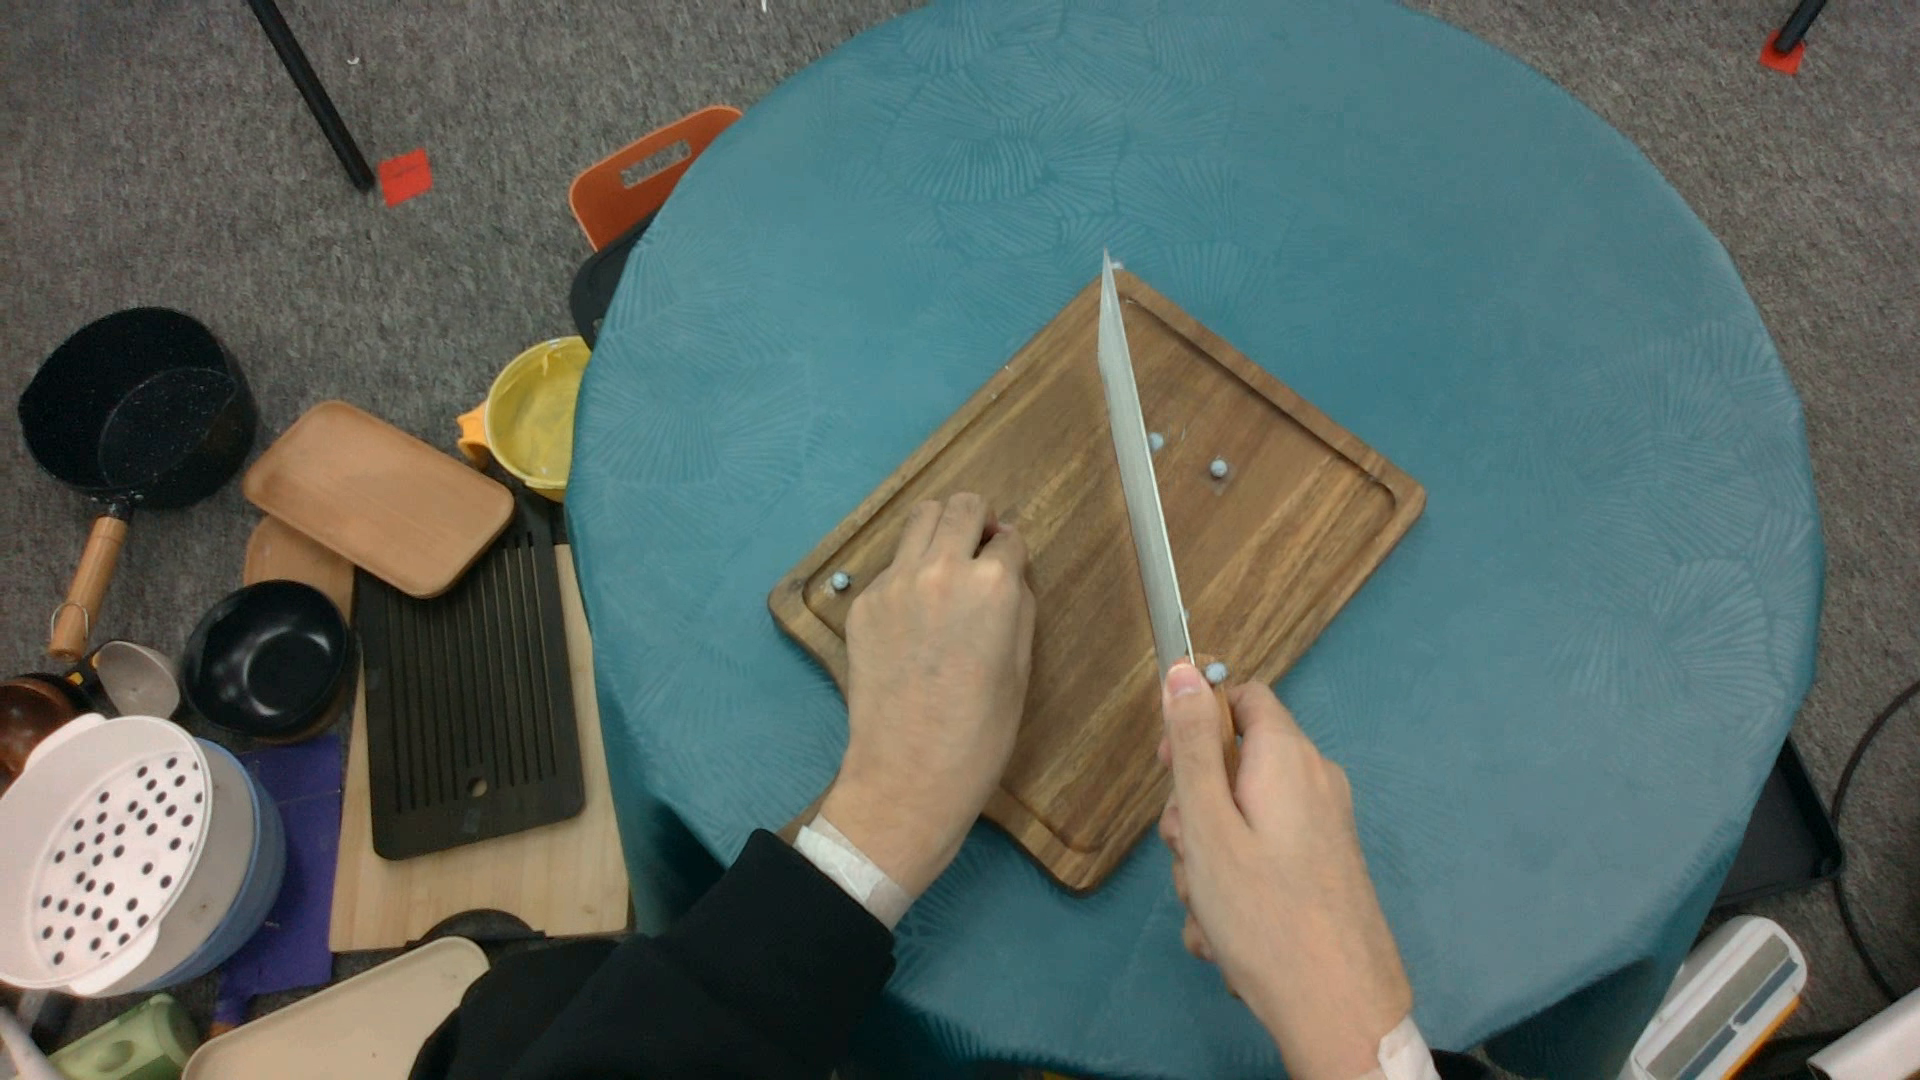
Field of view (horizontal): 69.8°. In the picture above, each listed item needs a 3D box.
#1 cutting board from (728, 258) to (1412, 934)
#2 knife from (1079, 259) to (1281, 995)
[{"bbox_3d":[0.026,0.035,0.623,0.201,0.023,0.353,39,72,16],"label":"cutting board"},{"bbox_3d":[0.079,0.030,0.558,0.021,0.092,0.307,-9,64,-1],"label":"knife"}]
